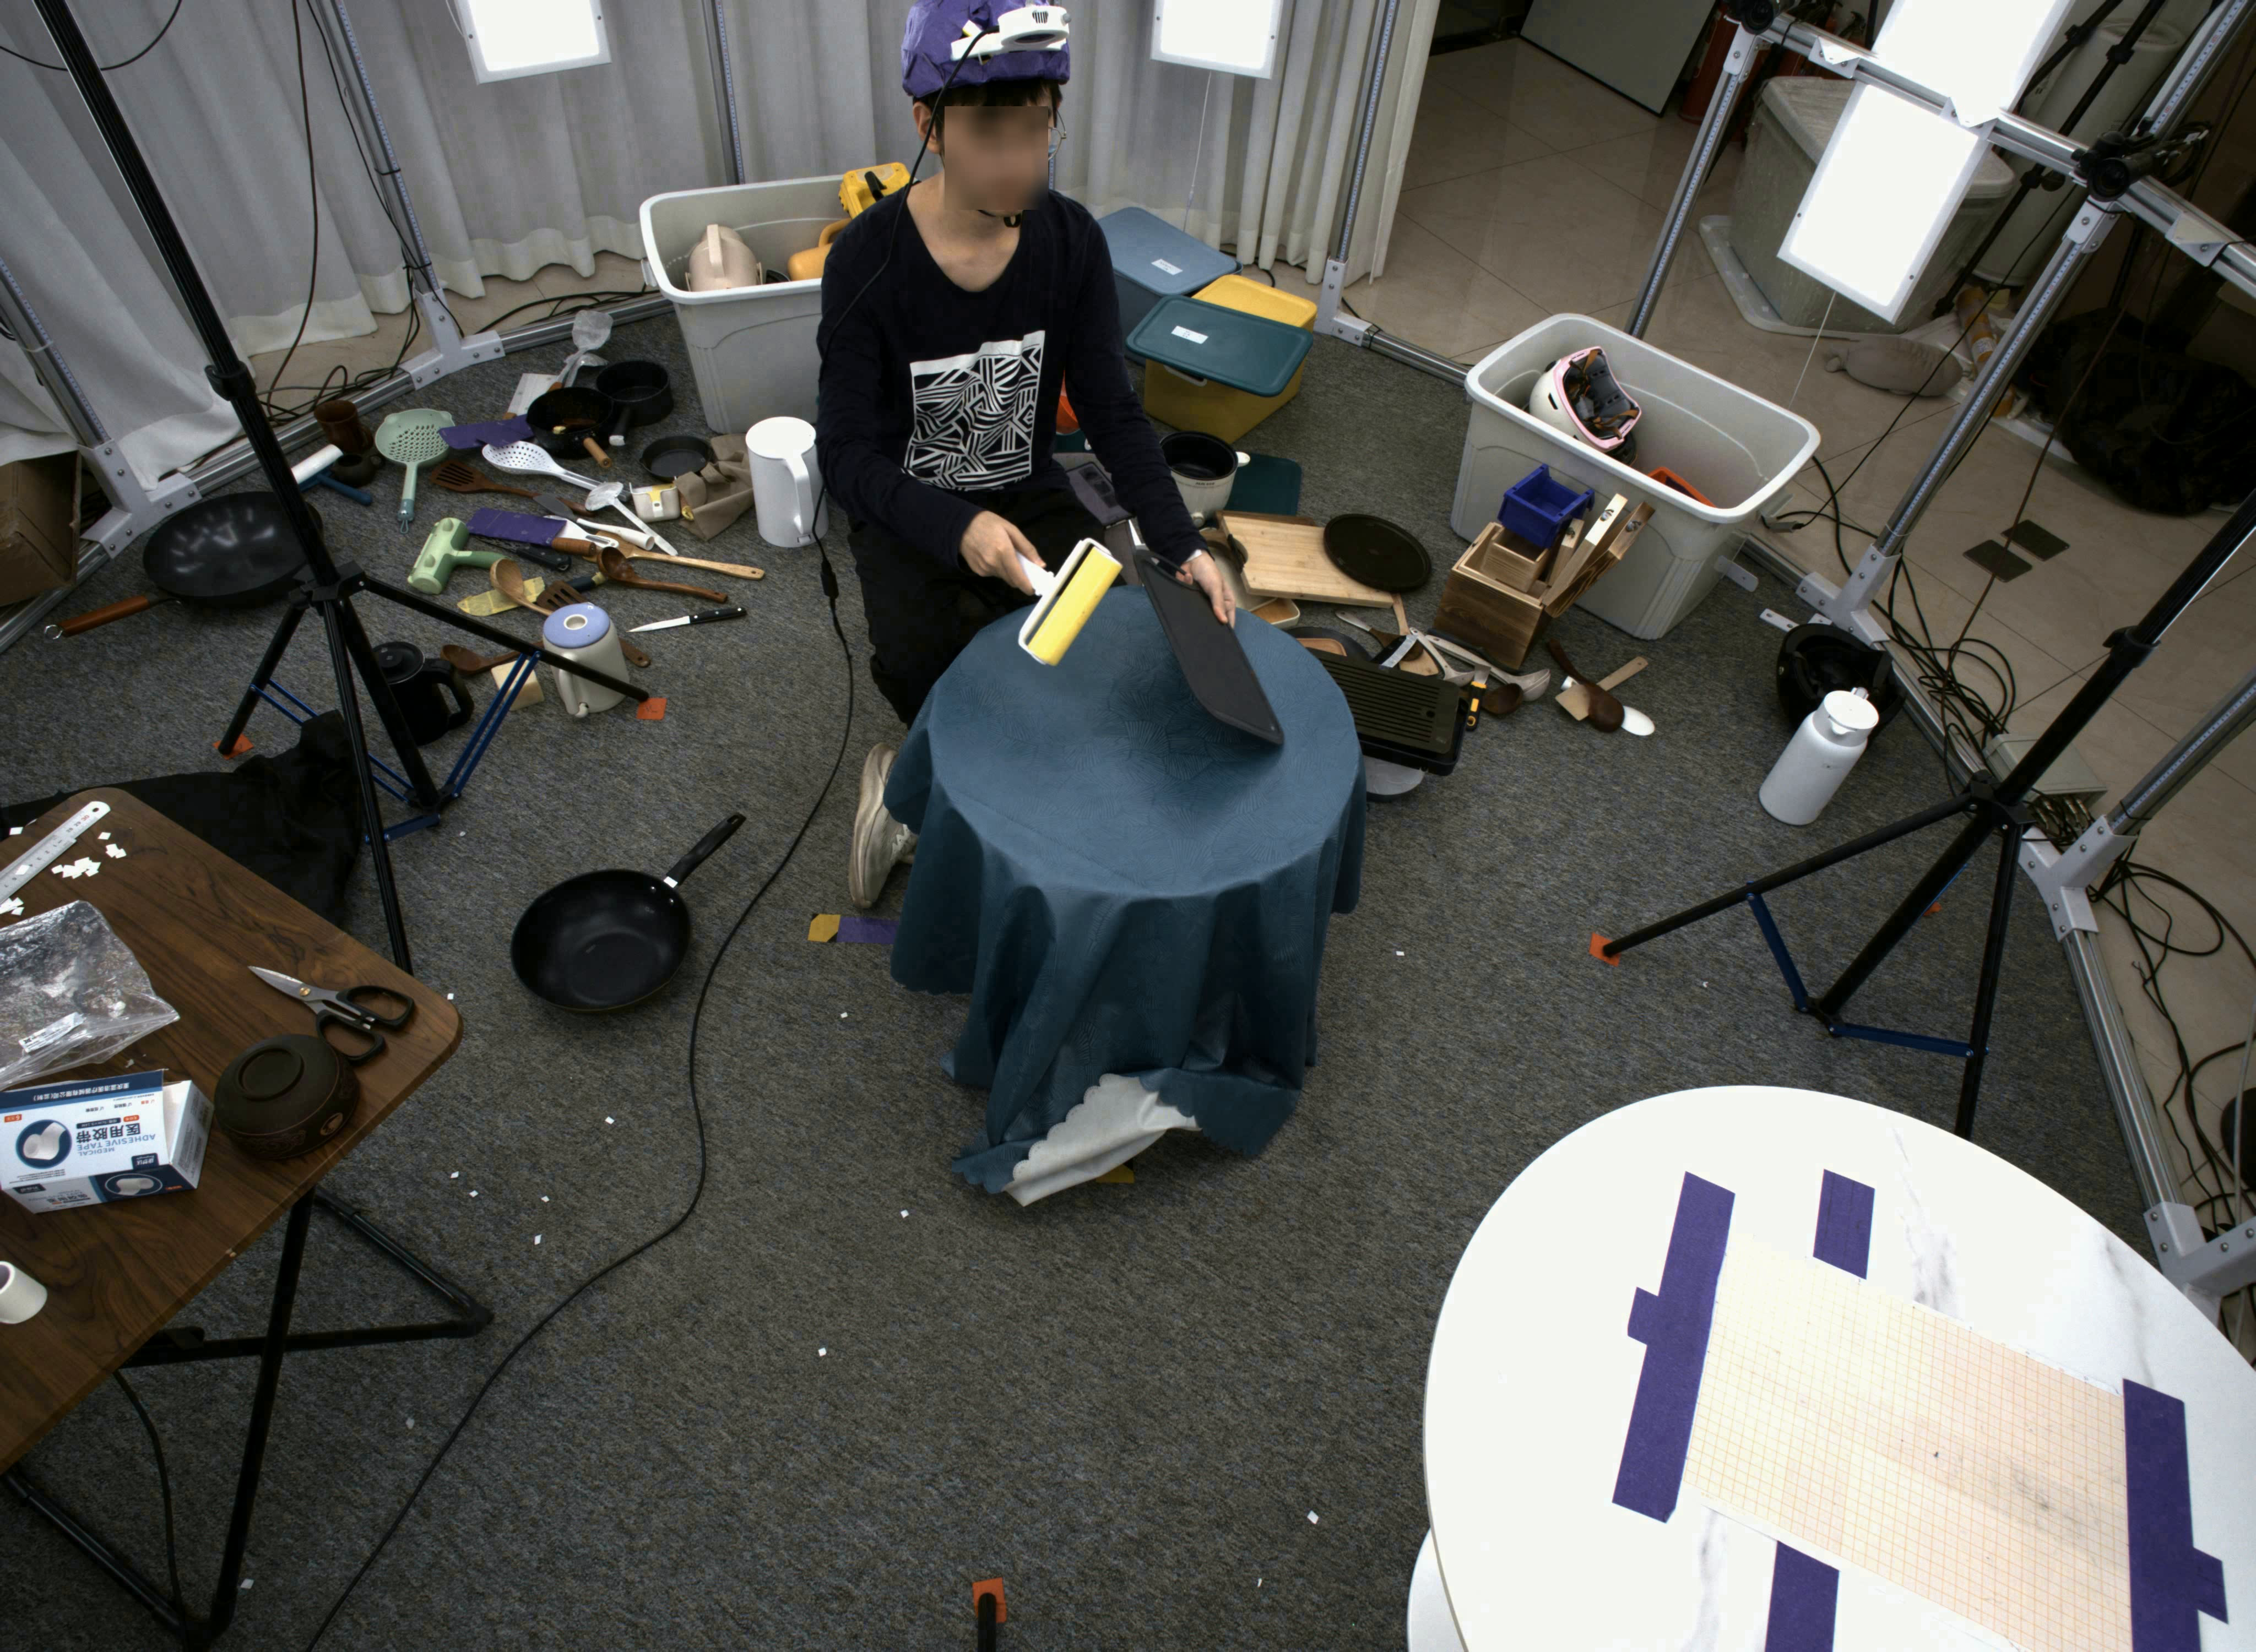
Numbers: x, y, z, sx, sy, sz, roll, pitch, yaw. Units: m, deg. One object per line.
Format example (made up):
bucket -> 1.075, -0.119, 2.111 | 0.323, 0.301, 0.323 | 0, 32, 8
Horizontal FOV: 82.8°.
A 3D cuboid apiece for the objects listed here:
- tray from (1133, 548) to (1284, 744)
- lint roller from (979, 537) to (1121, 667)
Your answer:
tray -> 0.109, -0.258, 1.782 | 0.208, 0.009, 0.332 | 17, 43, -47
lint roller -> -0.130, -0.333, 1.733 | 0.193, 0.173, 0.051 | 36, 9, 11
